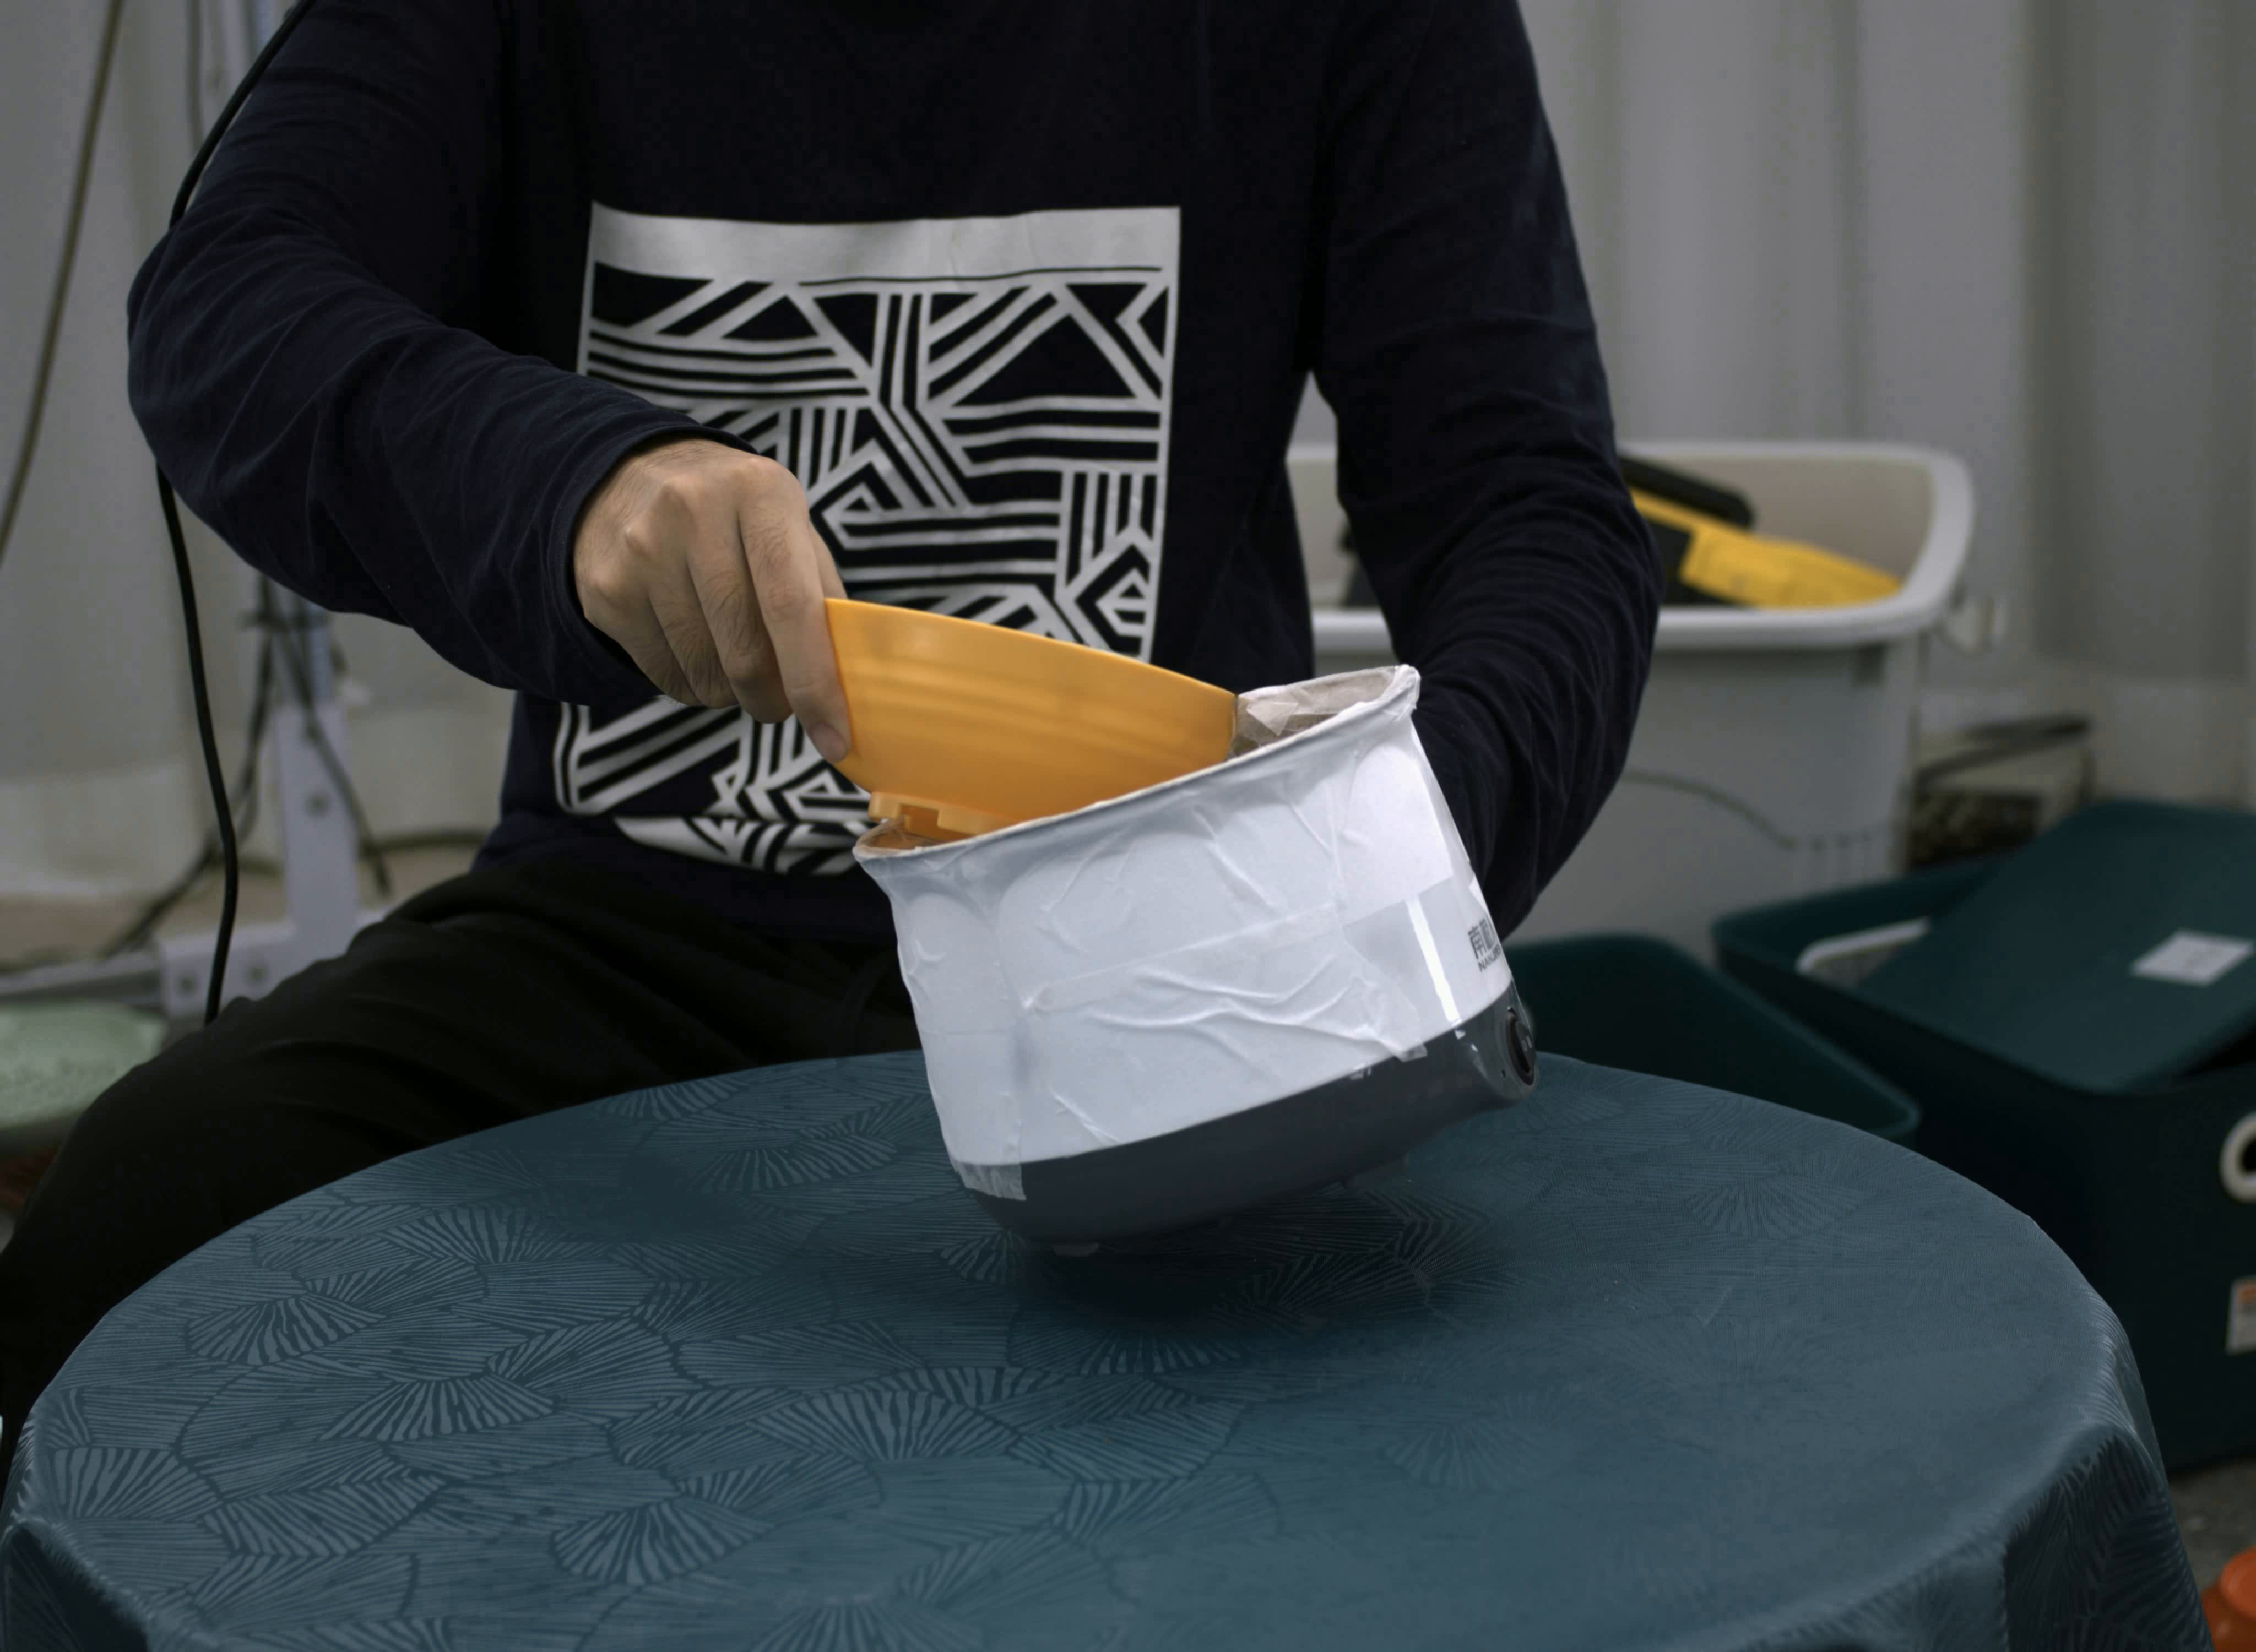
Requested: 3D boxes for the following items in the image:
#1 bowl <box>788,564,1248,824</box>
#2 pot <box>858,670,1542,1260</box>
[{"bbox_3d":[-0.040,-0.030,1.643,0.145,0.060,0.145,16,-1,0],"label":"bowl"},{"bbox_3d":[0.030,0.037,1.660,0.178,0.136,0.234,-16,5,17],"label":"pot"}]
